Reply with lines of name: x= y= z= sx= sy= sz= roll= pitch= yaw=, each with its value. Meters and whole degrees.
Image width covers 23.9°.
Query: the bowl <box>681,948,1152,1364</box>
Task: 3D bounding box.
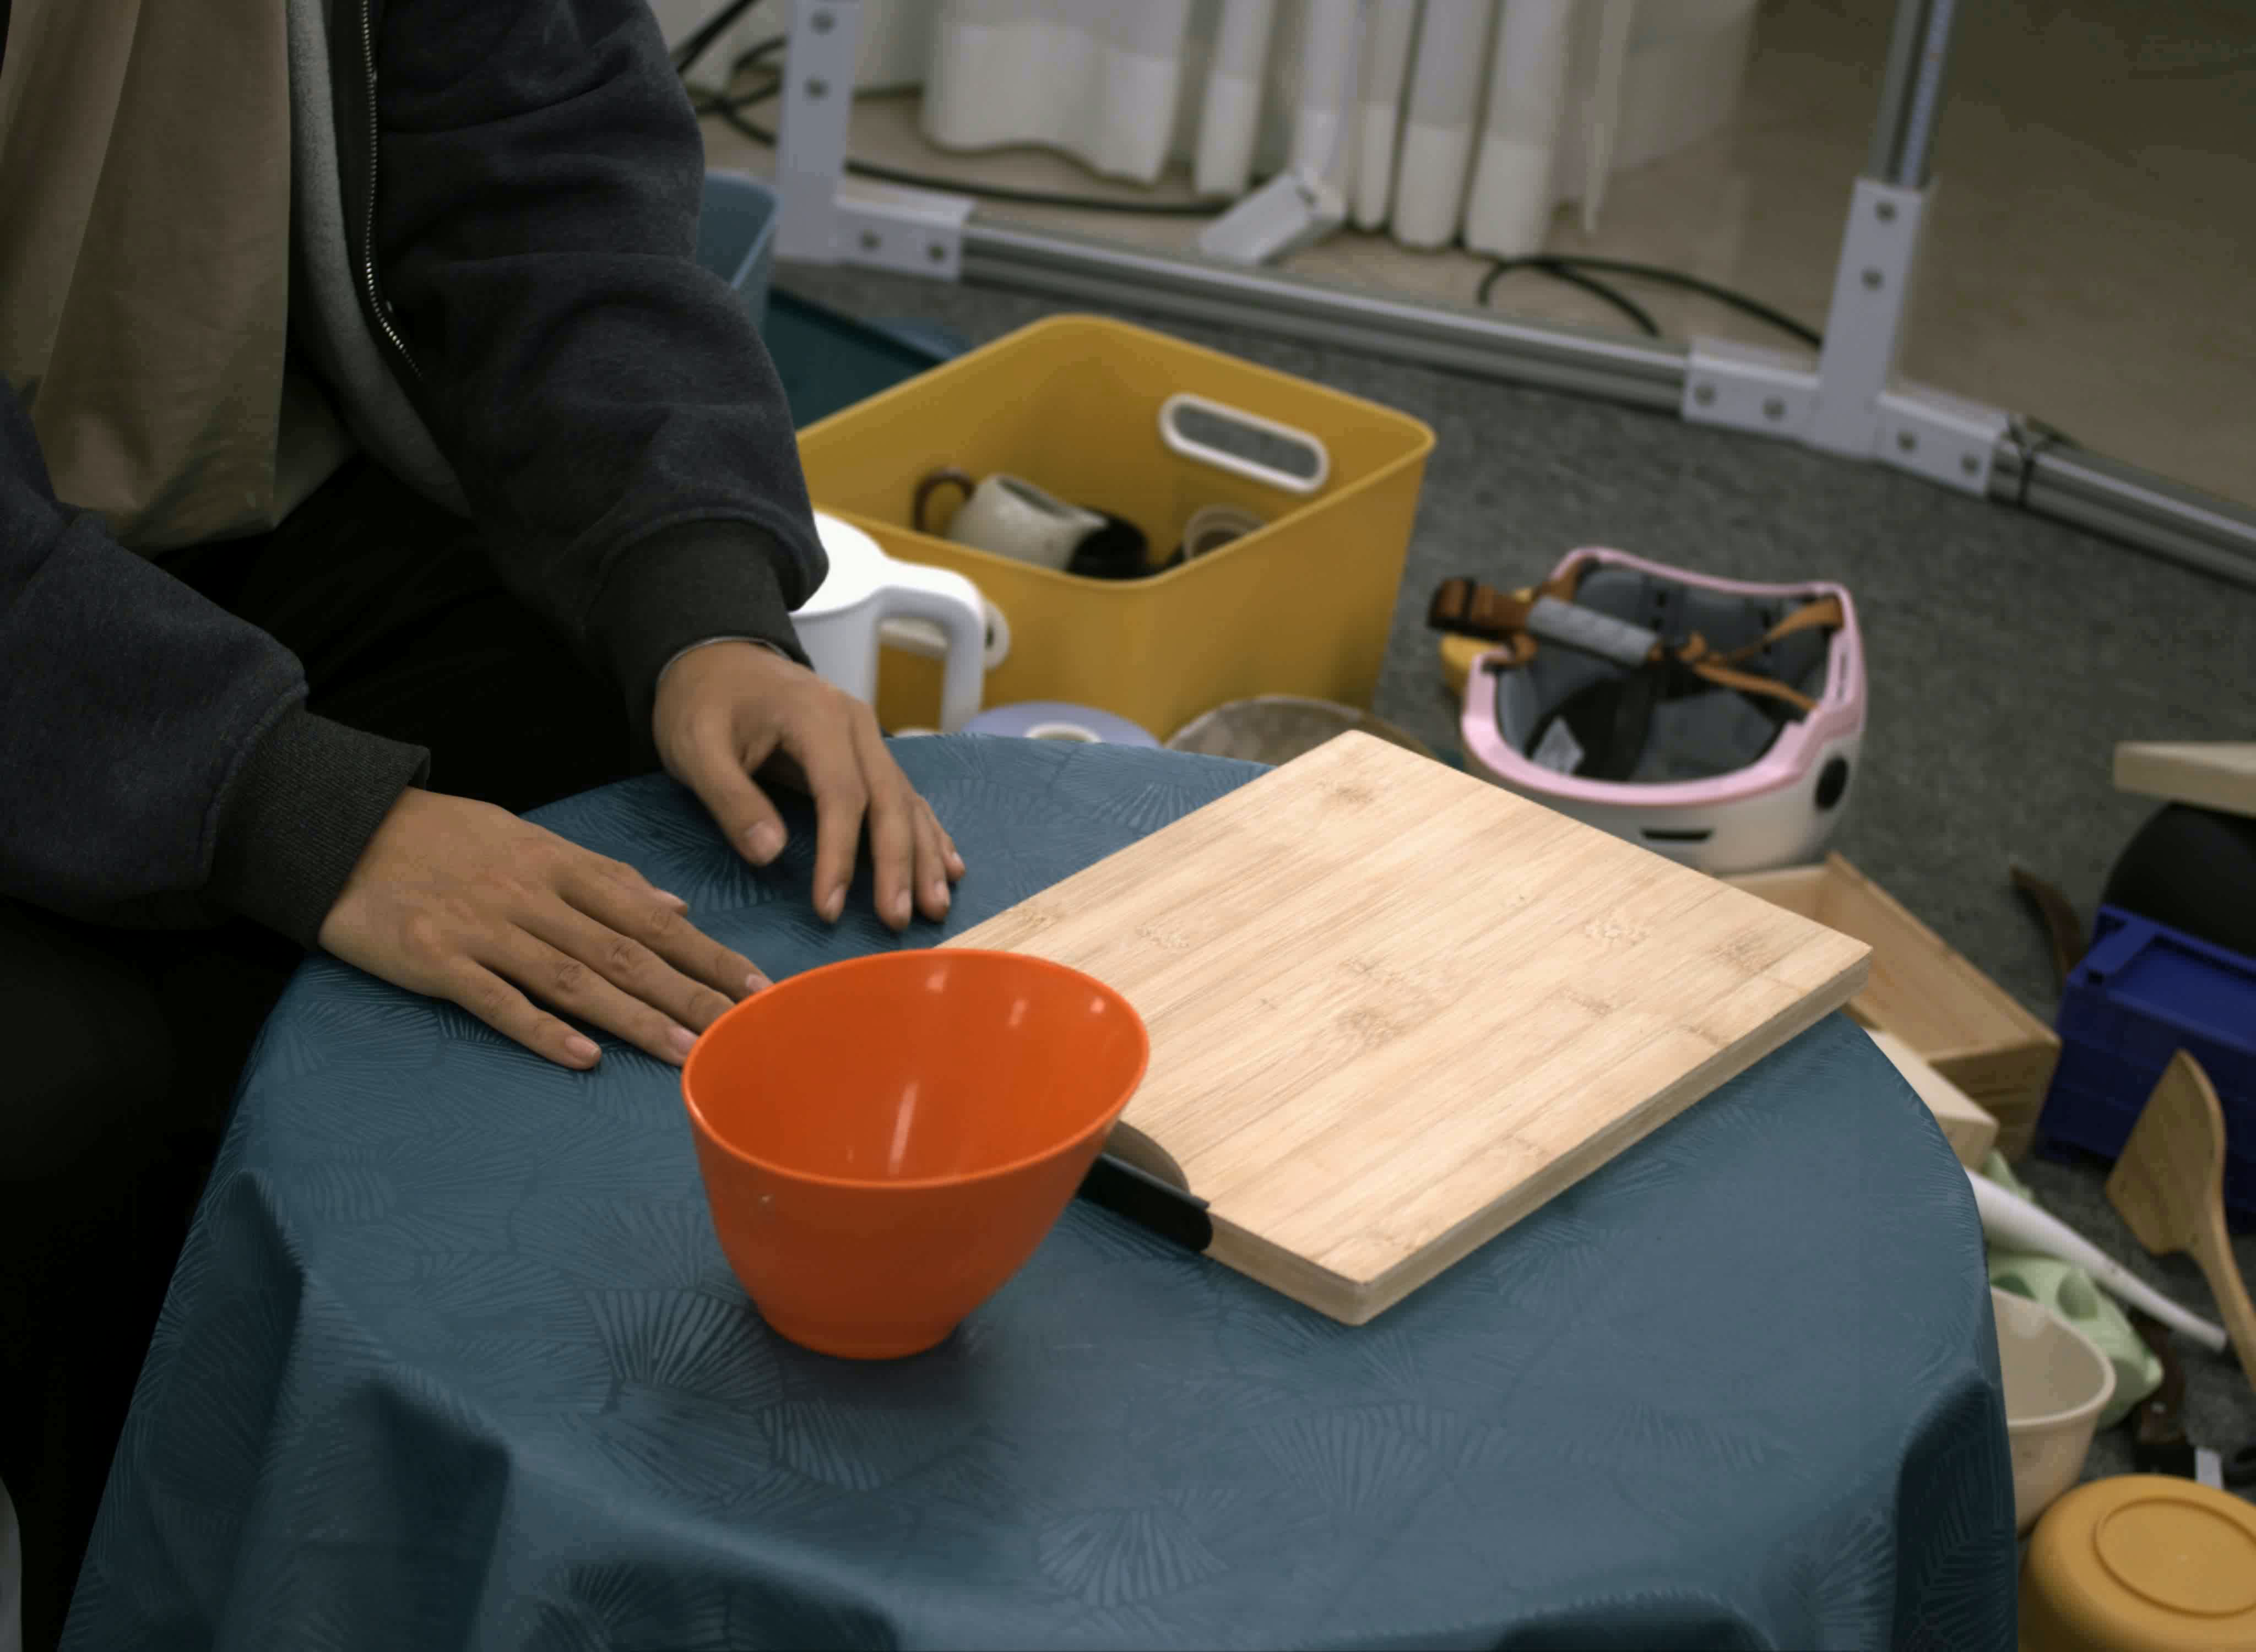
bowl: x=-0.071 y=0.112 z=1.697 sx=0.147 sy=0.104 sz=0.149 roll=5 pitch=28 yaw=-3

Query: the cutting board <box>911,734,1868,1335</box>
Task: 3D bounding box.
cutting board: x=0.077 y=0.066 z=1.915 sx=0.252 sy=0.023 sz=0.347 roll=23 pitch=31 yaw=30
